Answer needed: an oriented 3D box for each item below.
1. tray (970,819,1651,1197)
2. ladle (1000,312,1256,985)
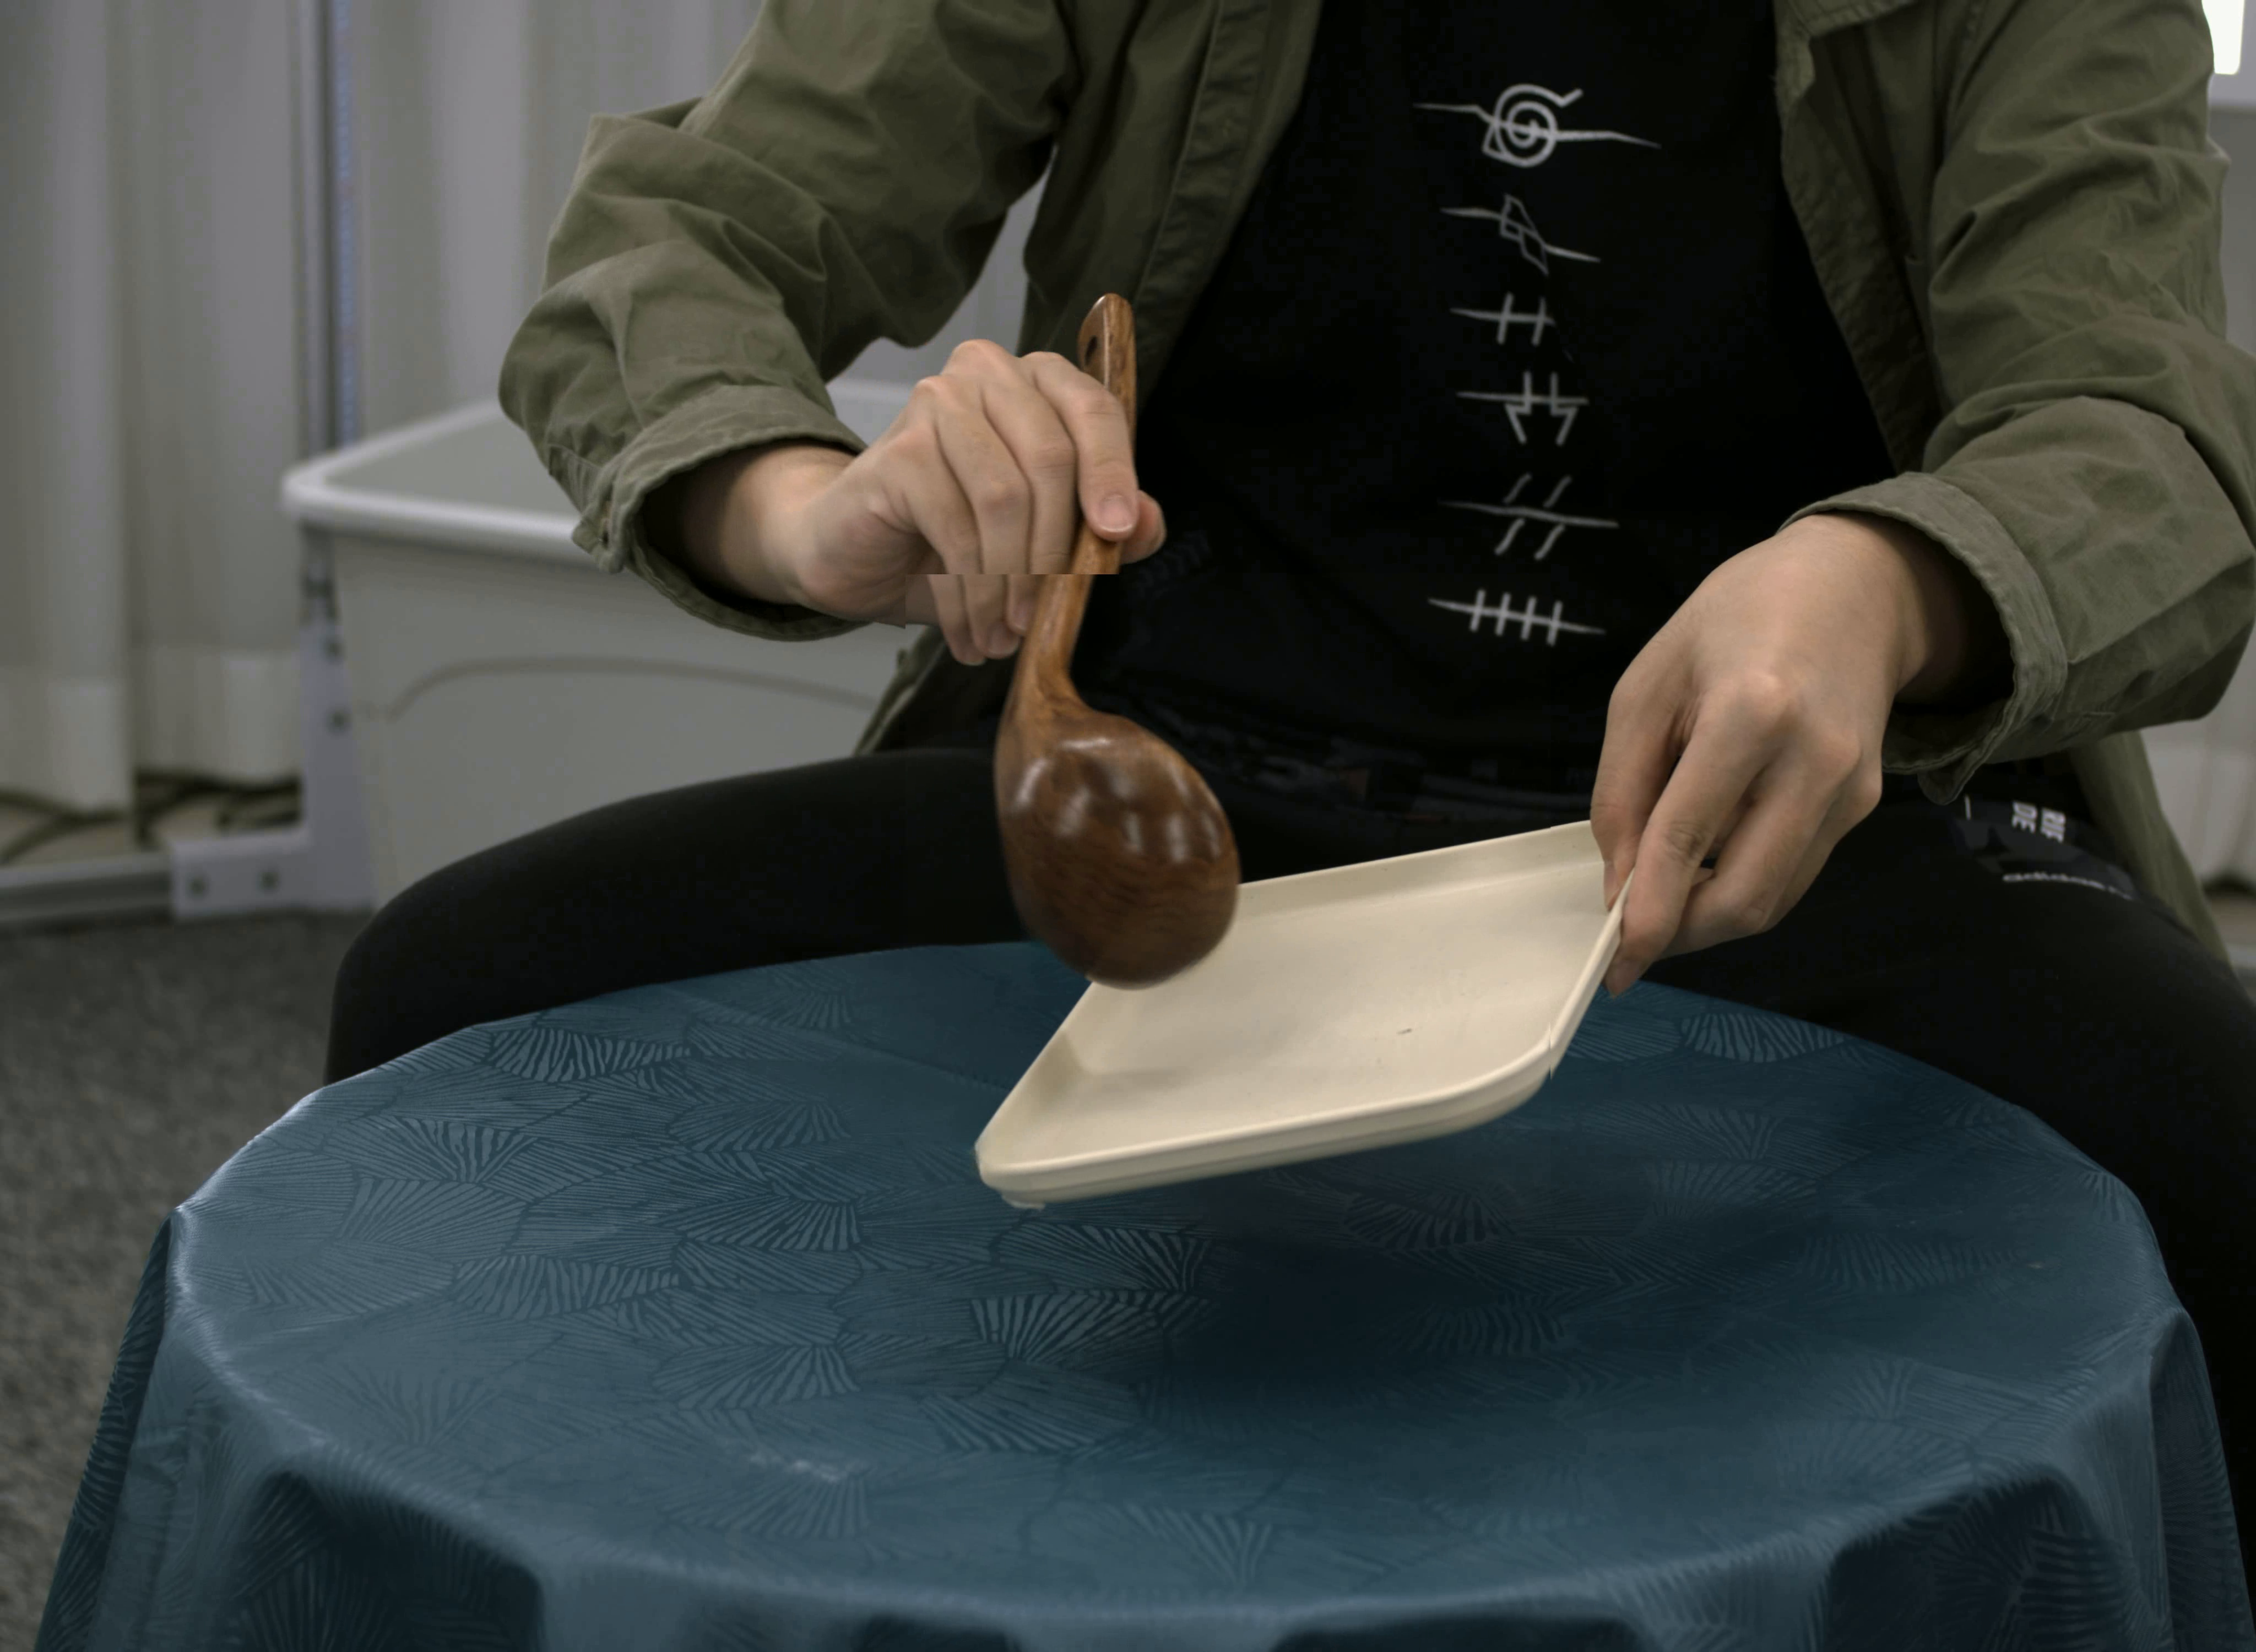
[{"bbox_3d":[0.058,0.052,1.532,0.170,0.017,0.239,-10,15,18],"label":"tray"},{"bbox_3d":[0.005,-0.061,1.597,0.077,0.082,0.272,27,37,-17],"label":"ladle"}]
